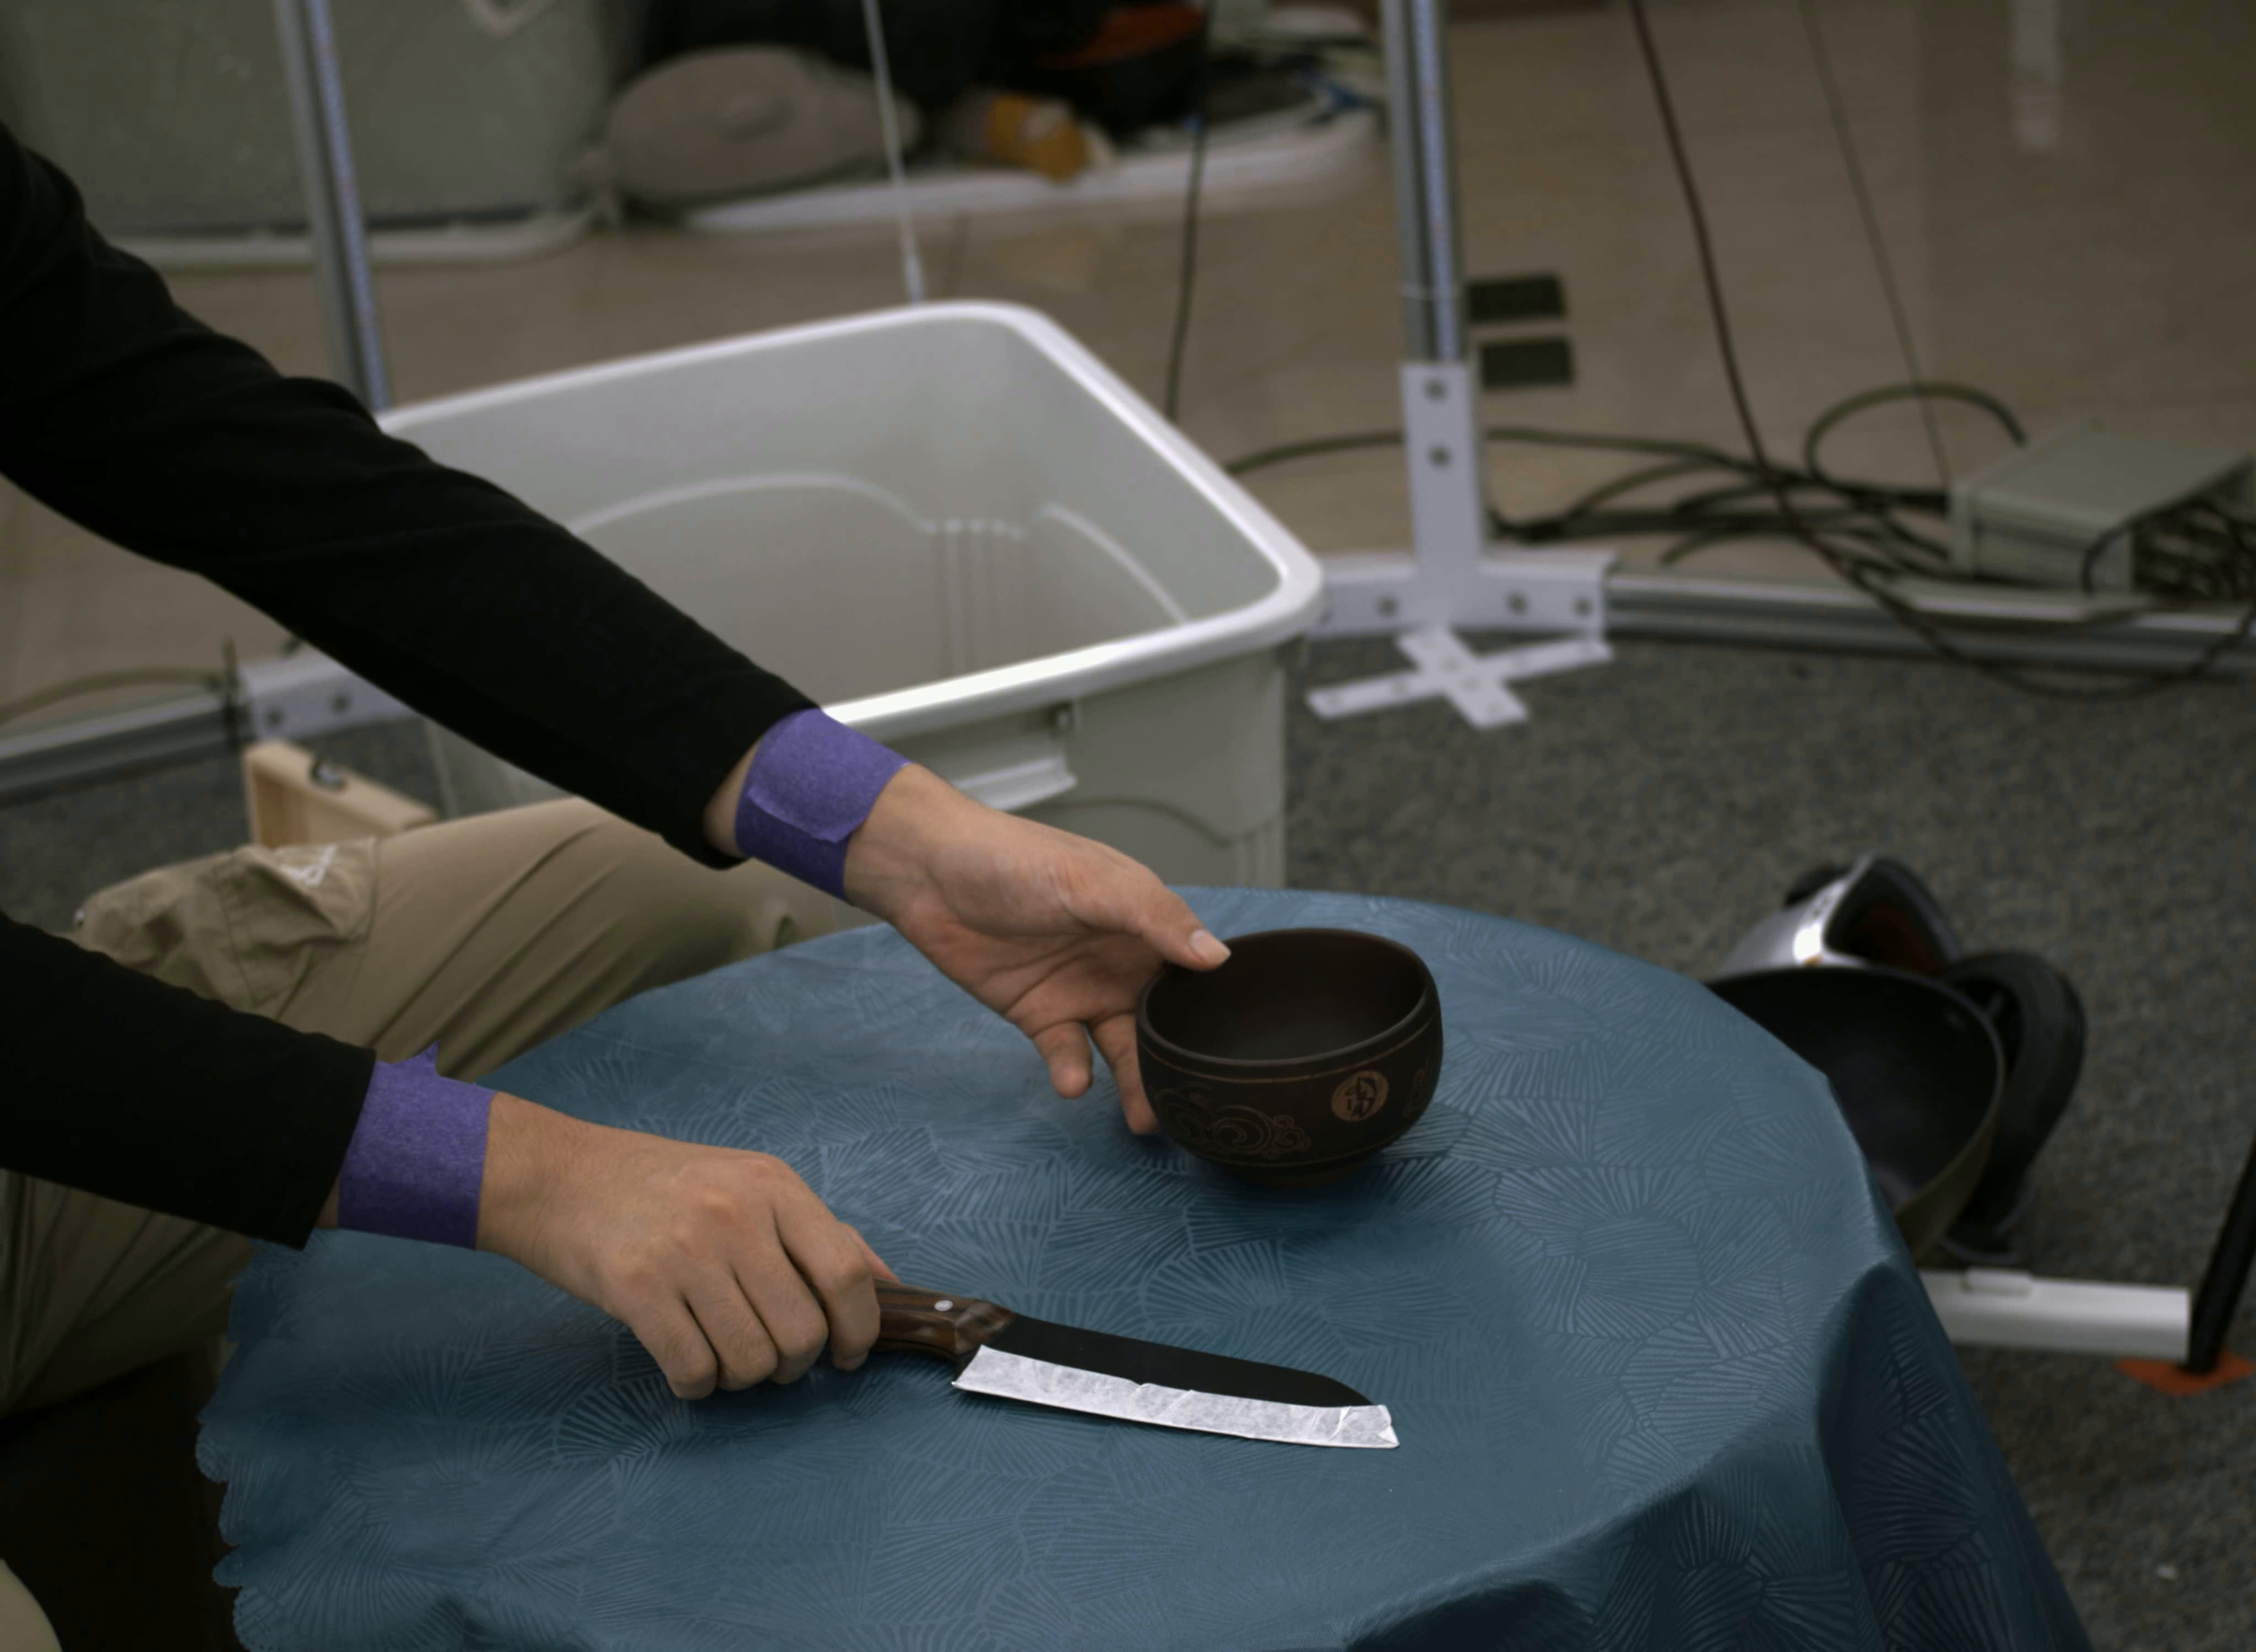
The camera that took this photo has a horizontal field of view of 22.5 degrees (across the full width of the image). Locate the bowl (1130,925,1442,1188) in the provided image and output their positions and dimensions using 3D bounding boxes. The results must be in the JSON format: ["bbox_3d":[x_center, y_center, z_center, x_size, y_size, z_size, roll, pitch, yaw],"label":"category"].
[{"bbox_3d":[0.062,0.094,2.149,0.118,0.071,0.116,-6,25,3],"label":"bowl"}]

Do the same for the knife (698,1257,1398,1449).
[{"bbox_3d":[-0.033,0.190,2.031,0.288,0.020,0.049,10,37,26],"label":"knife"}]
